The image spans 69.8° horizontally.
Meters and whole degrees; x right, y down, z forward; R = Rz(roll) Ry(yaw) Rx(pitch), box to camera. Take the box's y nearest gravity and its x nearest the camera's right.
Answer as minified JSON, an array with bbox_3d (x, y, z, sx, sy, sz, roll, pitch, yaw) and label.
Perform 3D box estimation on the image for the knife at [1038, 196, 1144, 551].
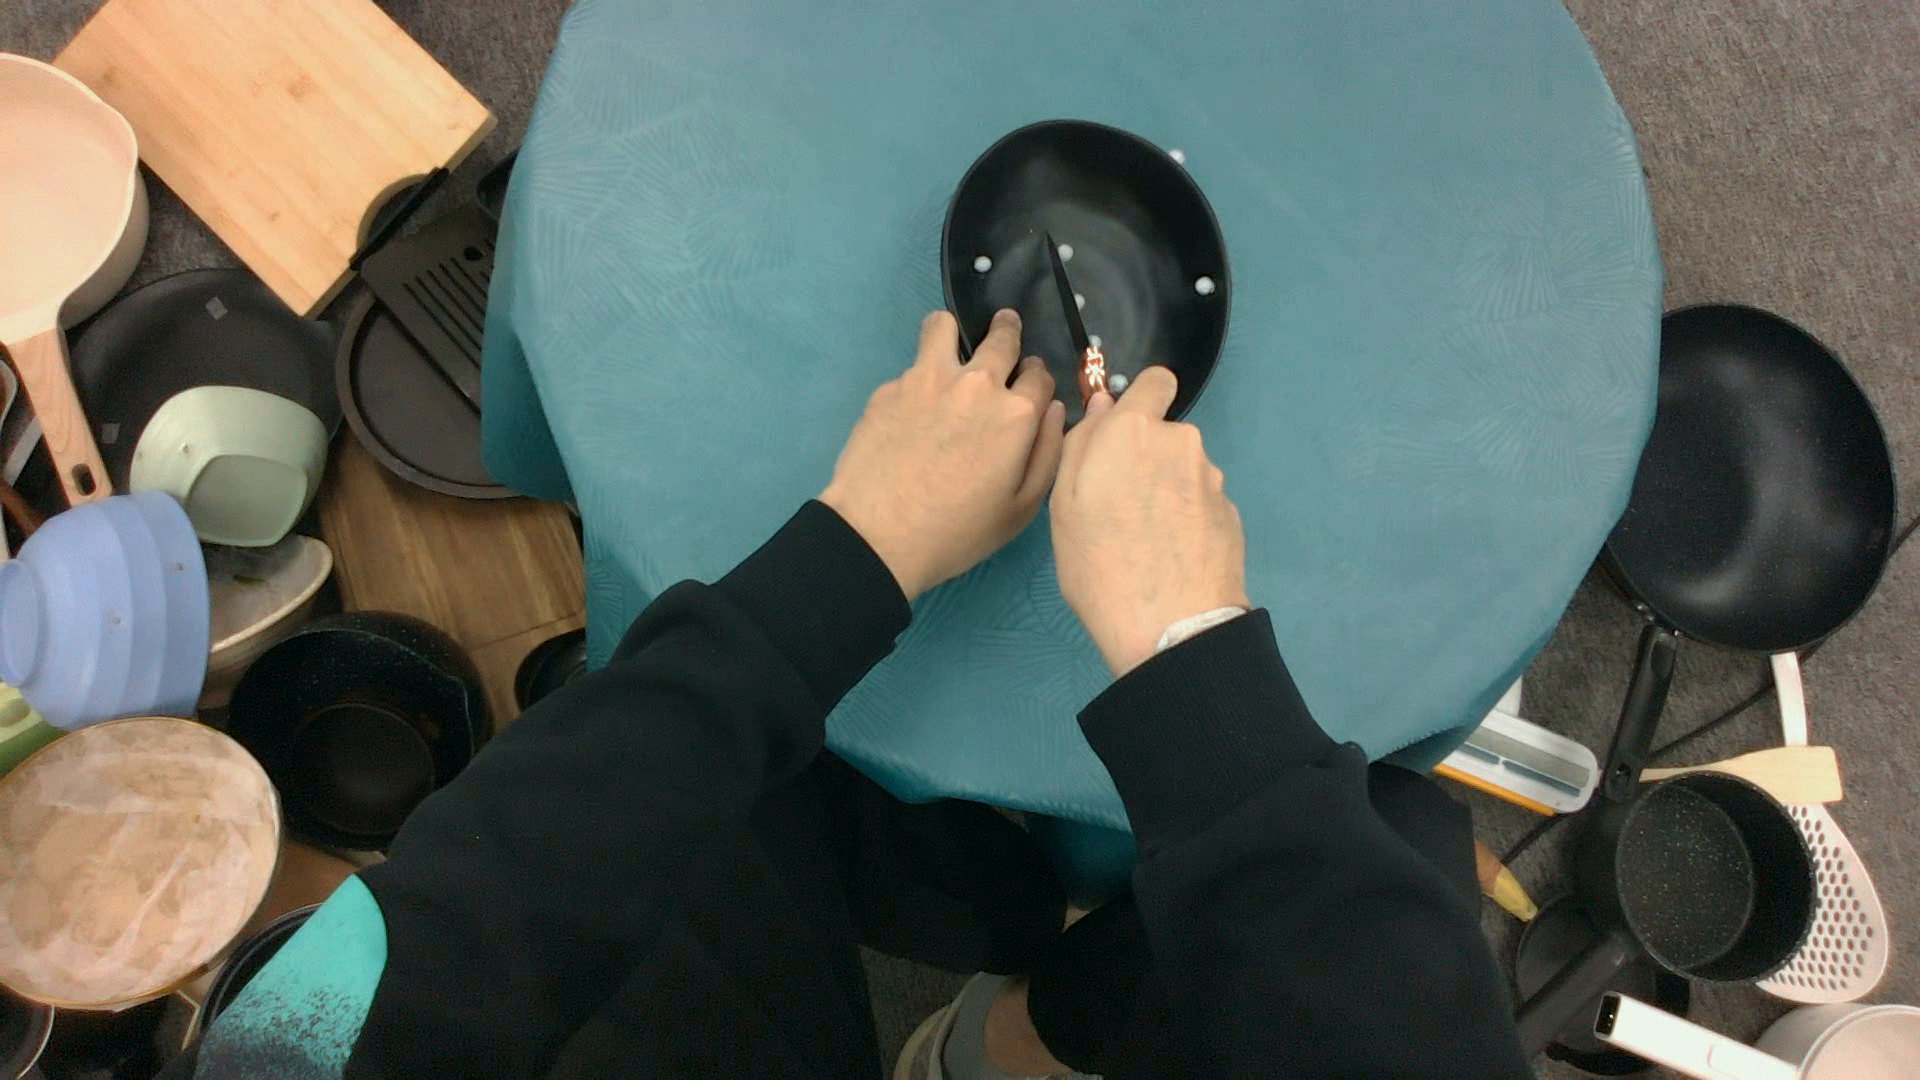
[{"bbox_3d":[0.053,-0.083,0.615,0.017,0.026,0.226,-1,47,-9],"label":"knife"}]

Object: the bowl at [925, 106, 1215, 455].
[{"bbox_3d":[0.050,-0.121,0.671,0.137,0.066,0.170,-9,80,-8],"label":"bowl"}]
